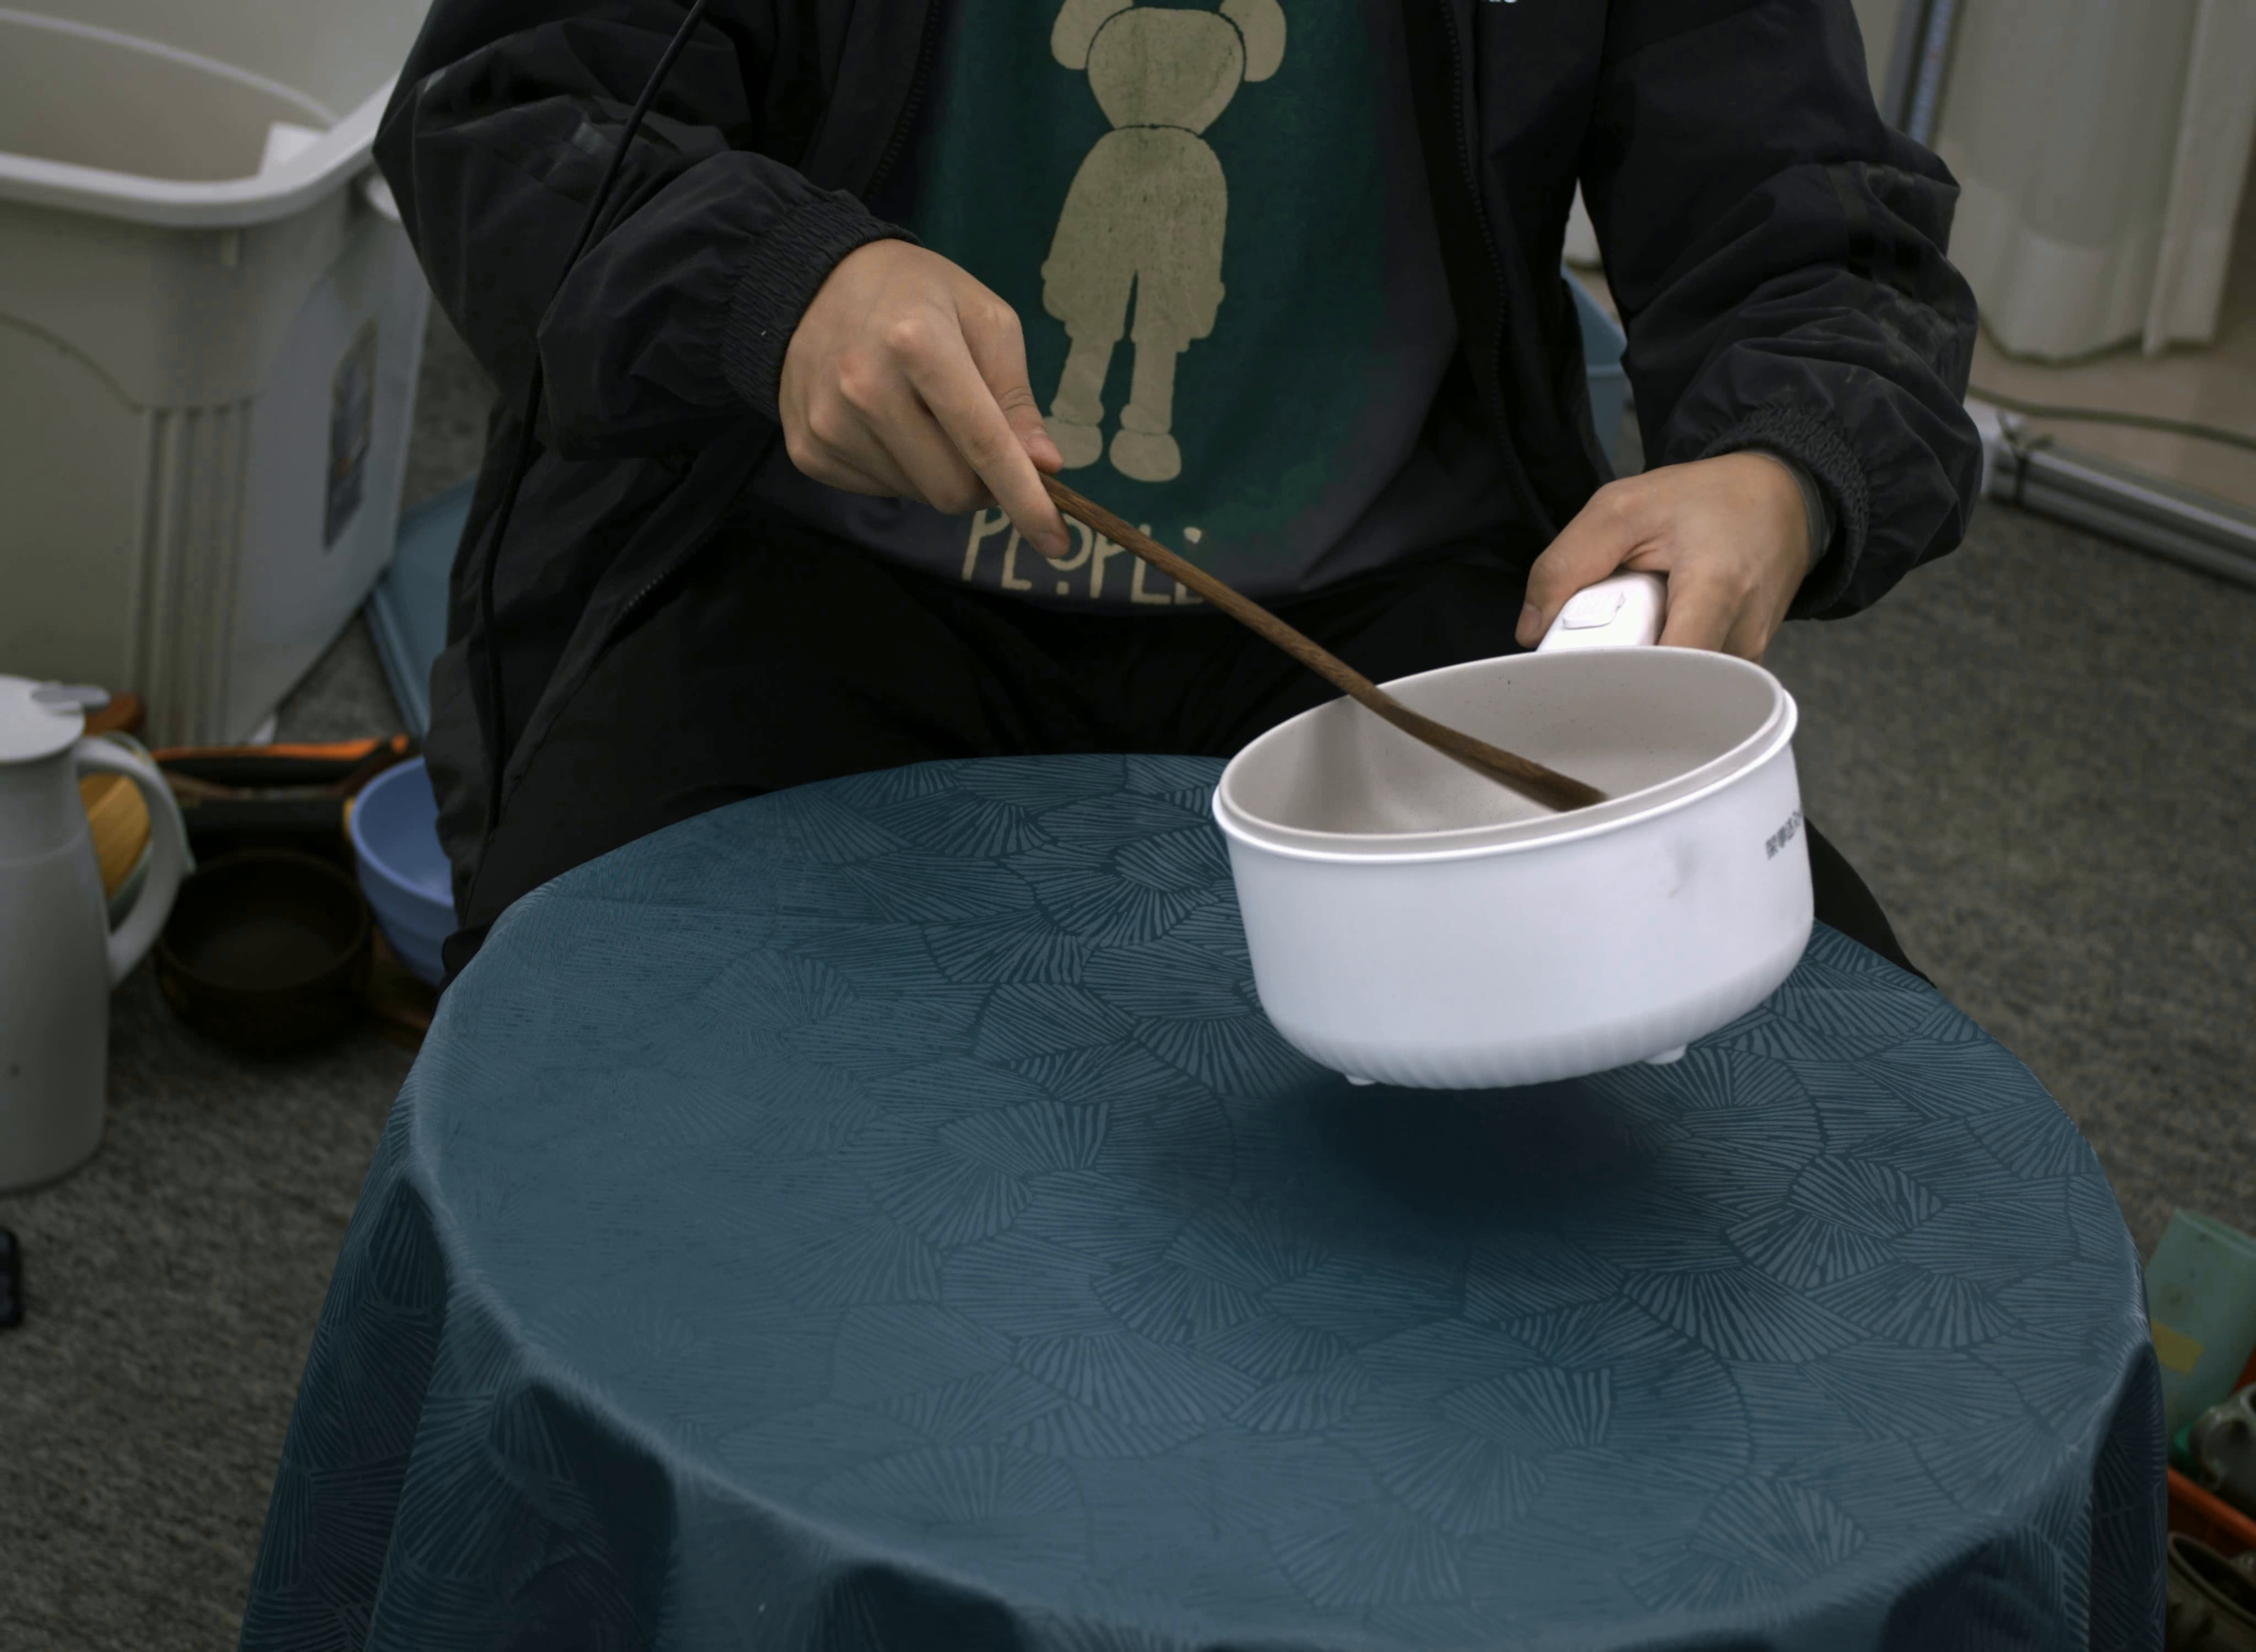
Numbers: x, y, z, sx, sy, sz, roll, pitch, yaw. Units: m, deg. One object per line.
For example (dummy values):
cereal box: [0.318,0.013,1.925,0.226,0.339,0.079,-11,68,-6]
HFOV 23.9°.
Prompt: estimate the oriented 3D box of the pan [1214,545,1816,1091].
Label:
pan: [0.158,-0.006,1.891,0.201,0.102,0.355,-6,16,19]

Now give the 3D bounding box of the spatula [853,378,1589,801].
spatula: [0.035,-0.081,1.910,0.389,0.016,0.095,33,2,34]
